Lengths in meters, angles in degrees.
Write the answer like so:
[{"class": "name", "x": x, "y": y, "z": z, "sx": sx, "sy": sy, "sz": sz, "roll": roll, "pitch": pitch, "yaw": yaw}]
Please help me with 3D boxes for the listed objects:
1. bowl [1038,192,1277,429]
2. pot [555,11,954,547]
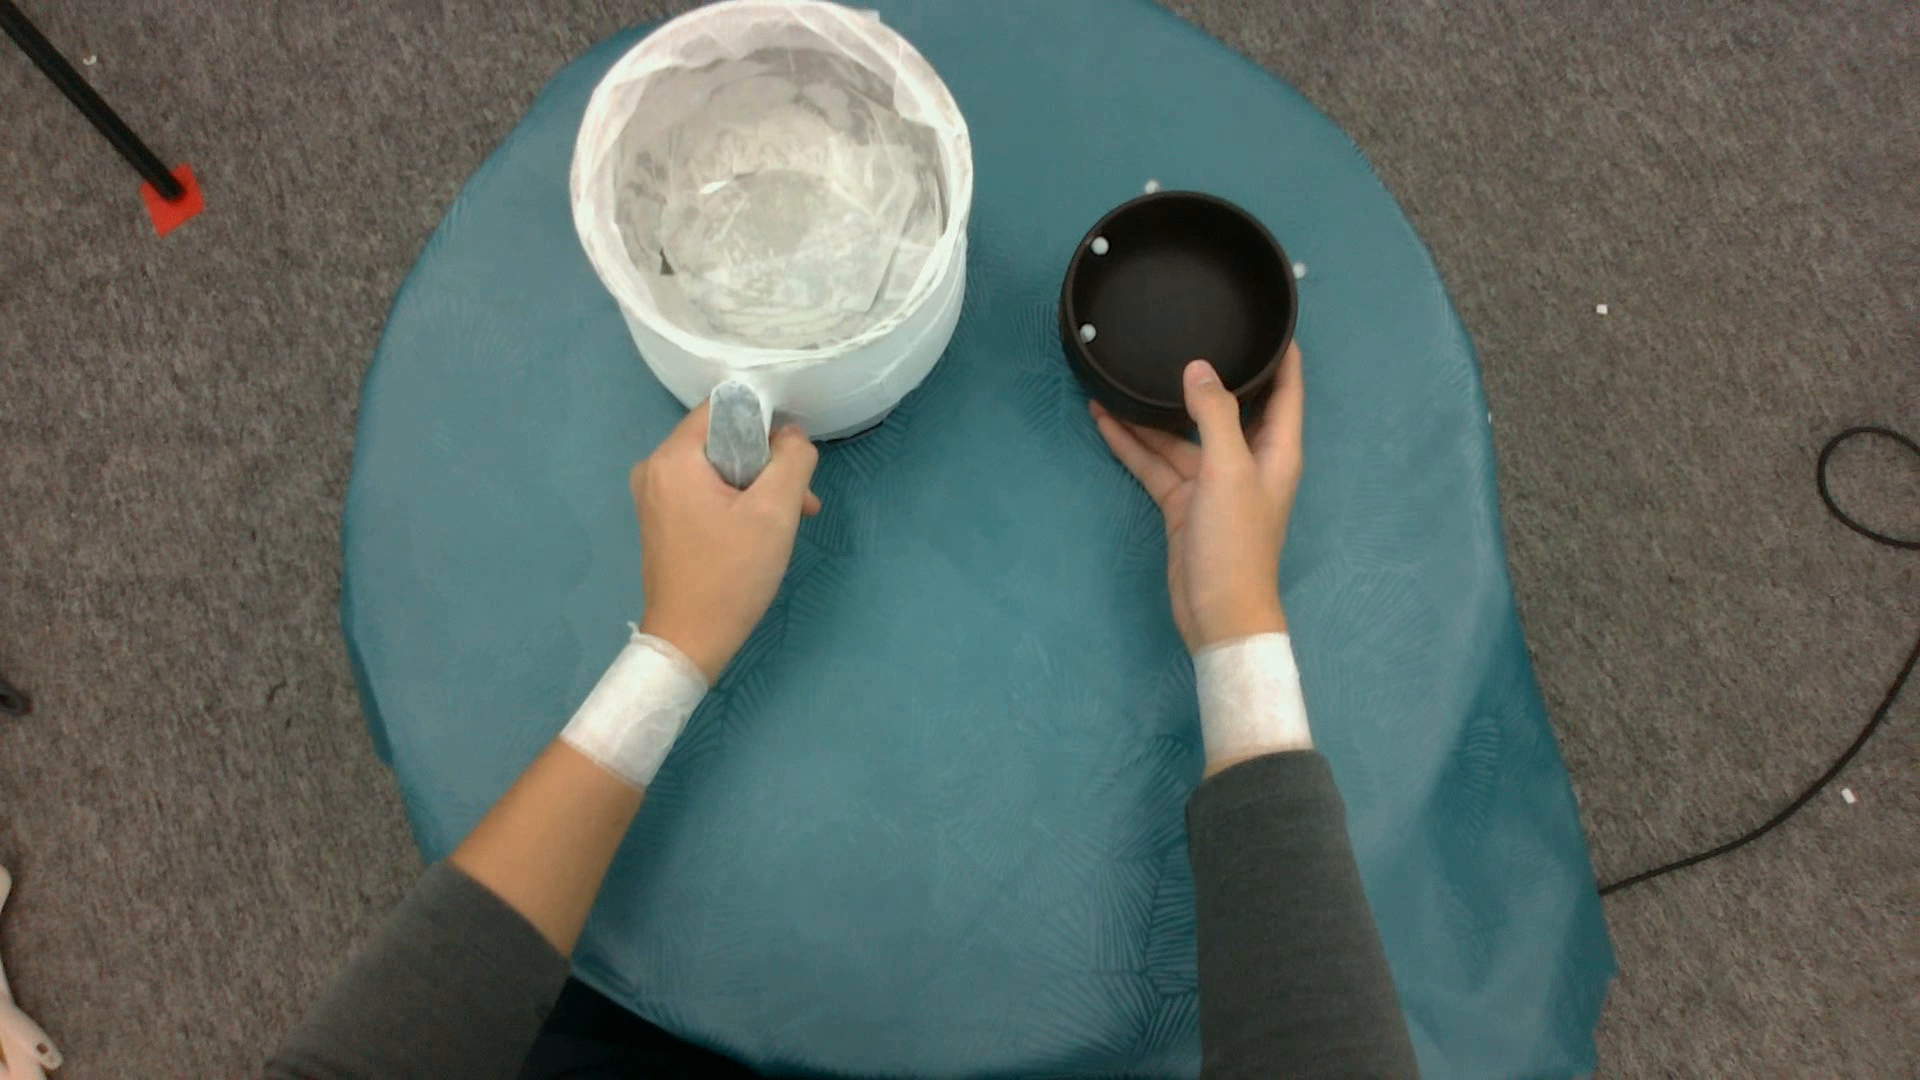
[{"class": "bowl", "x": 0.098, "y": -0.112, "z": 0.711, "sx": 0.118, "sy": 0.069, "sz": 0.118, "roll": 1, "pitch": 78, "yaw": -3}, {"class": "pot", "x": -0.097, "y": -0.118, "z": 0.671, "sx": 0.179, "sy": 0.136, "sz": 0.234, "roll": 7, "pitch": 77, "yaw": -1}]
